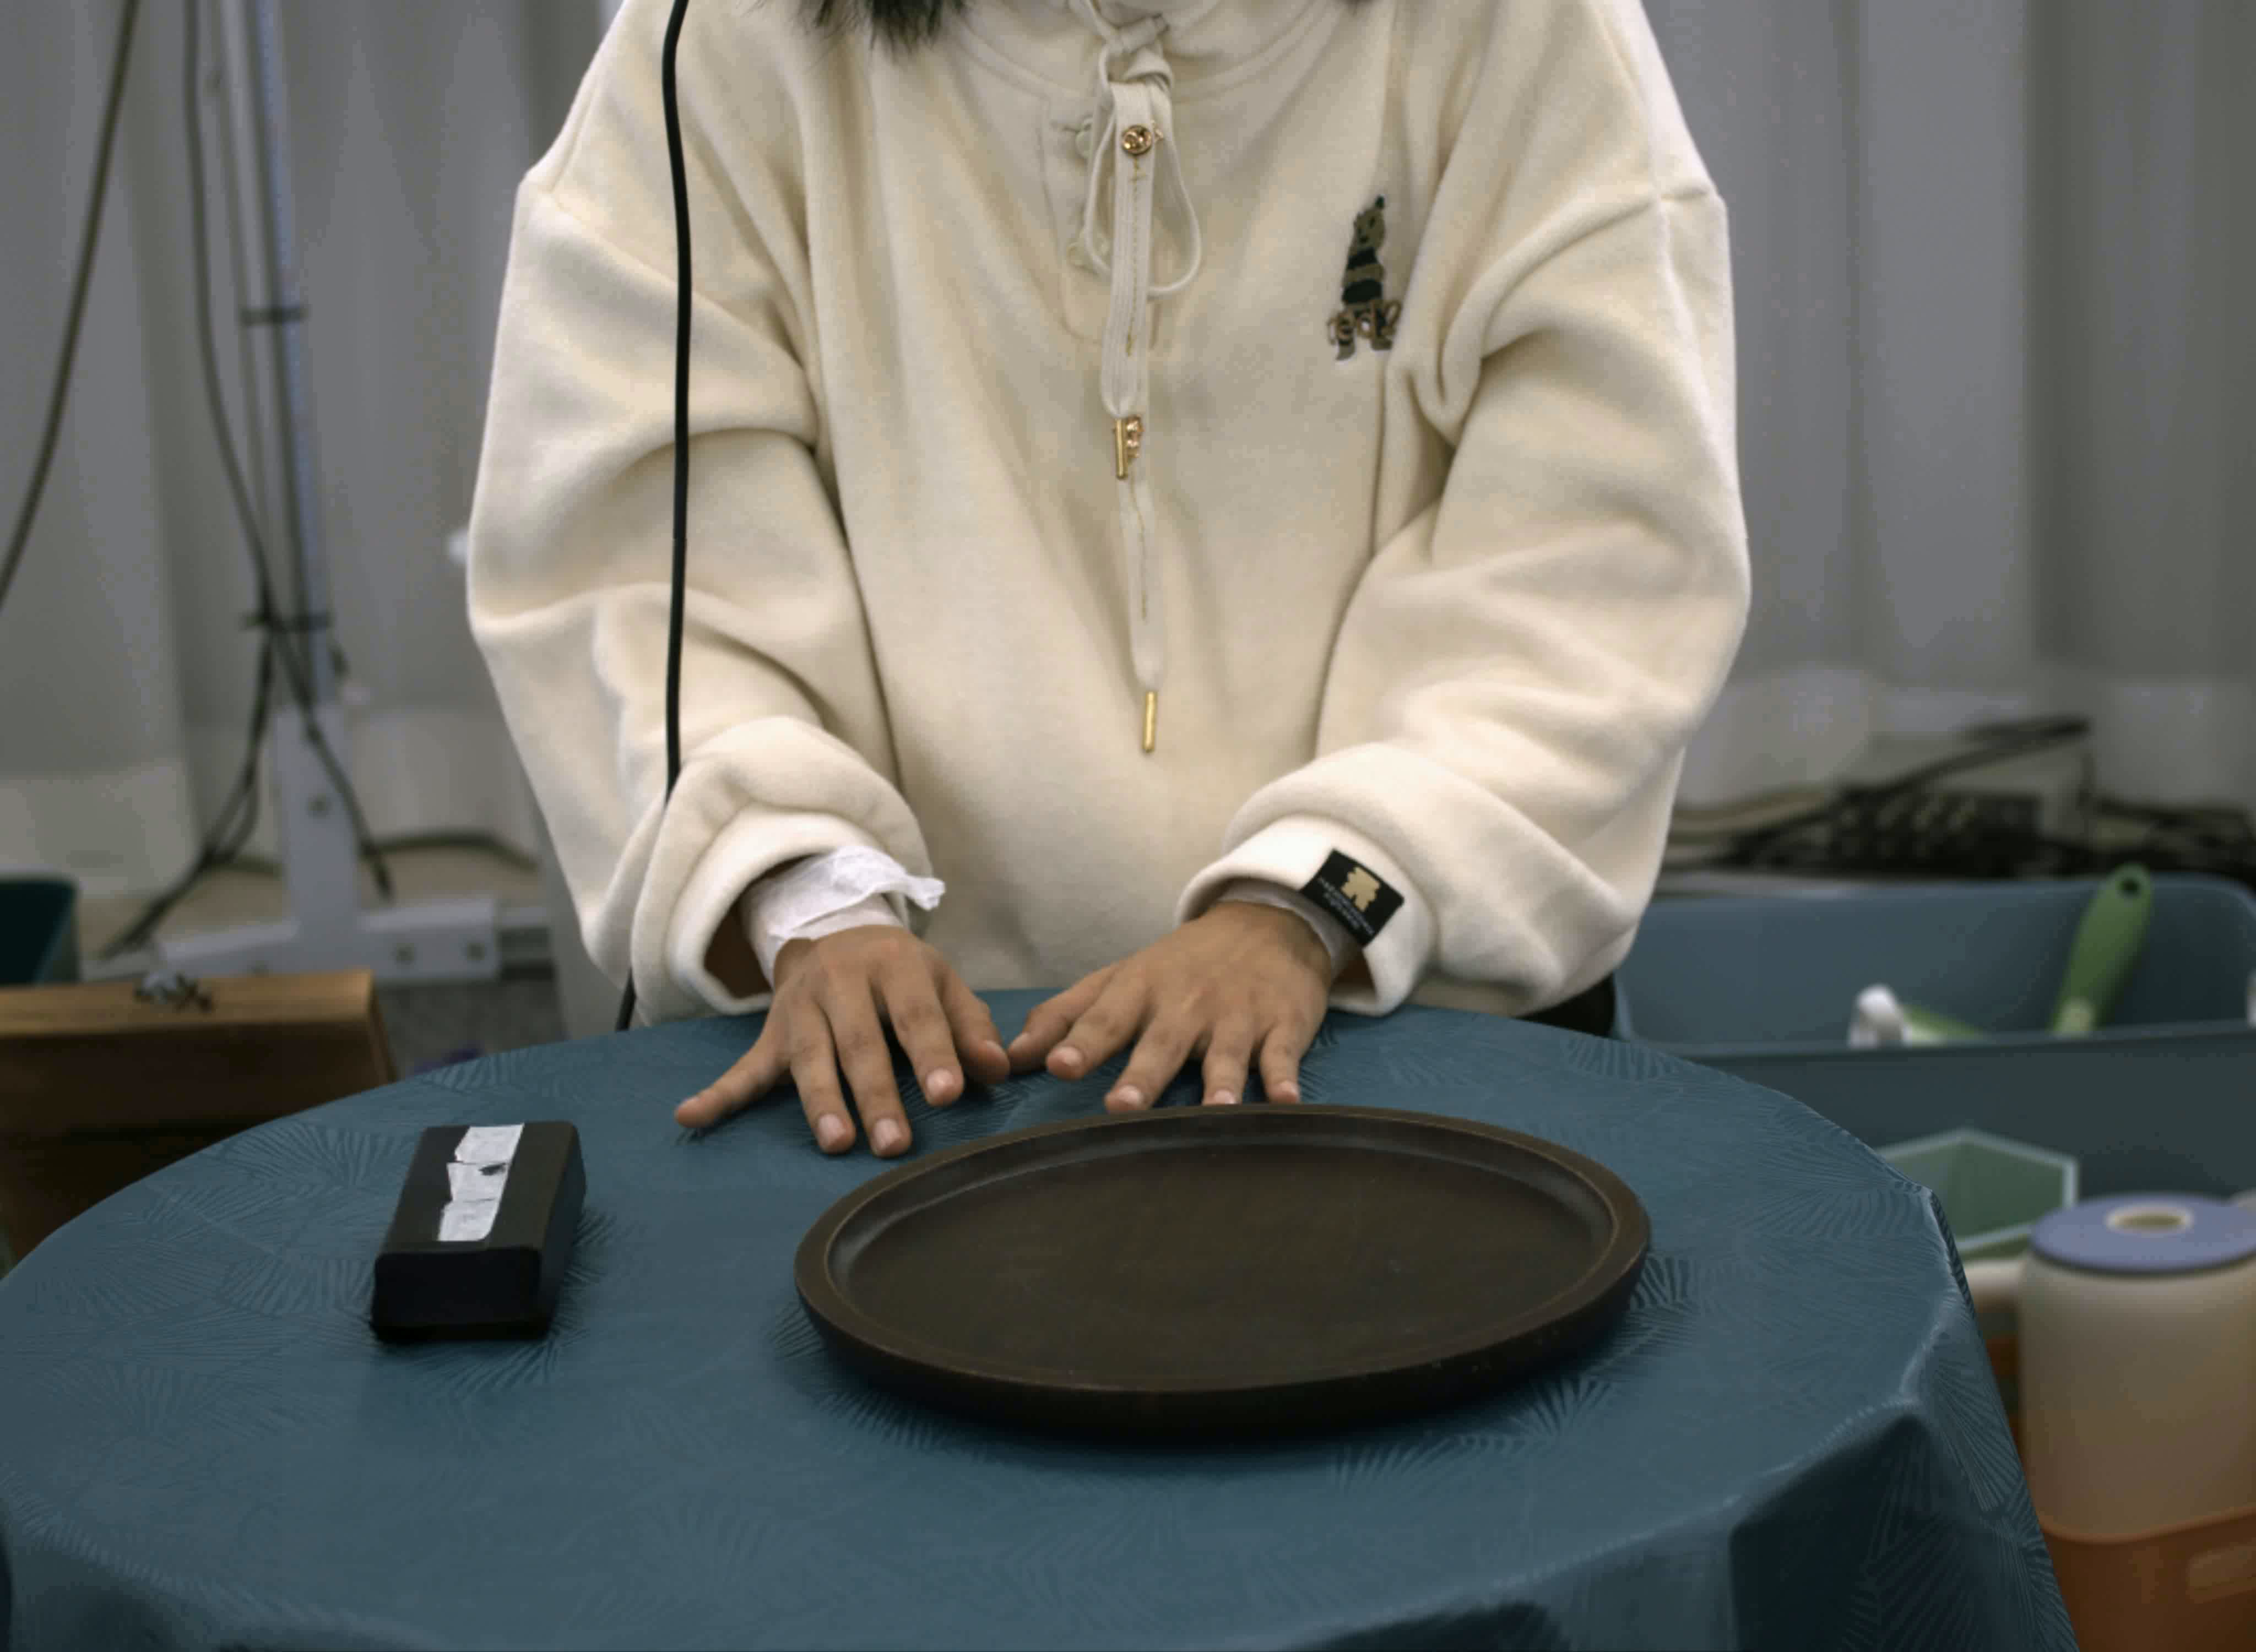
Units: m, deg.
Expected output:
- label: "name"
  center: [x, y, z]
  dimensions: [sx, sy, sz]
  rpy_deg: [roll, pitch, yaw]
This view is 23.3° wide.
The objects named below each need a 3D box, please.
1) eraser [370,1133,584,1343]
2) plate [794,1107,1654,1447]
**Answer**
- label: "eraser"
  center: [-0.196, 0.124, 1.664]
  dimensions: [0.053, 0.030, 0.126]
  rpy_deg: [-1, 13, -1]
- label: "plate"
  center: [0.028, 0.129, 1.607]
  dimensions: [0.254, 0.029, 0.256]
  rpy_deg: [-3, 16, 1]
